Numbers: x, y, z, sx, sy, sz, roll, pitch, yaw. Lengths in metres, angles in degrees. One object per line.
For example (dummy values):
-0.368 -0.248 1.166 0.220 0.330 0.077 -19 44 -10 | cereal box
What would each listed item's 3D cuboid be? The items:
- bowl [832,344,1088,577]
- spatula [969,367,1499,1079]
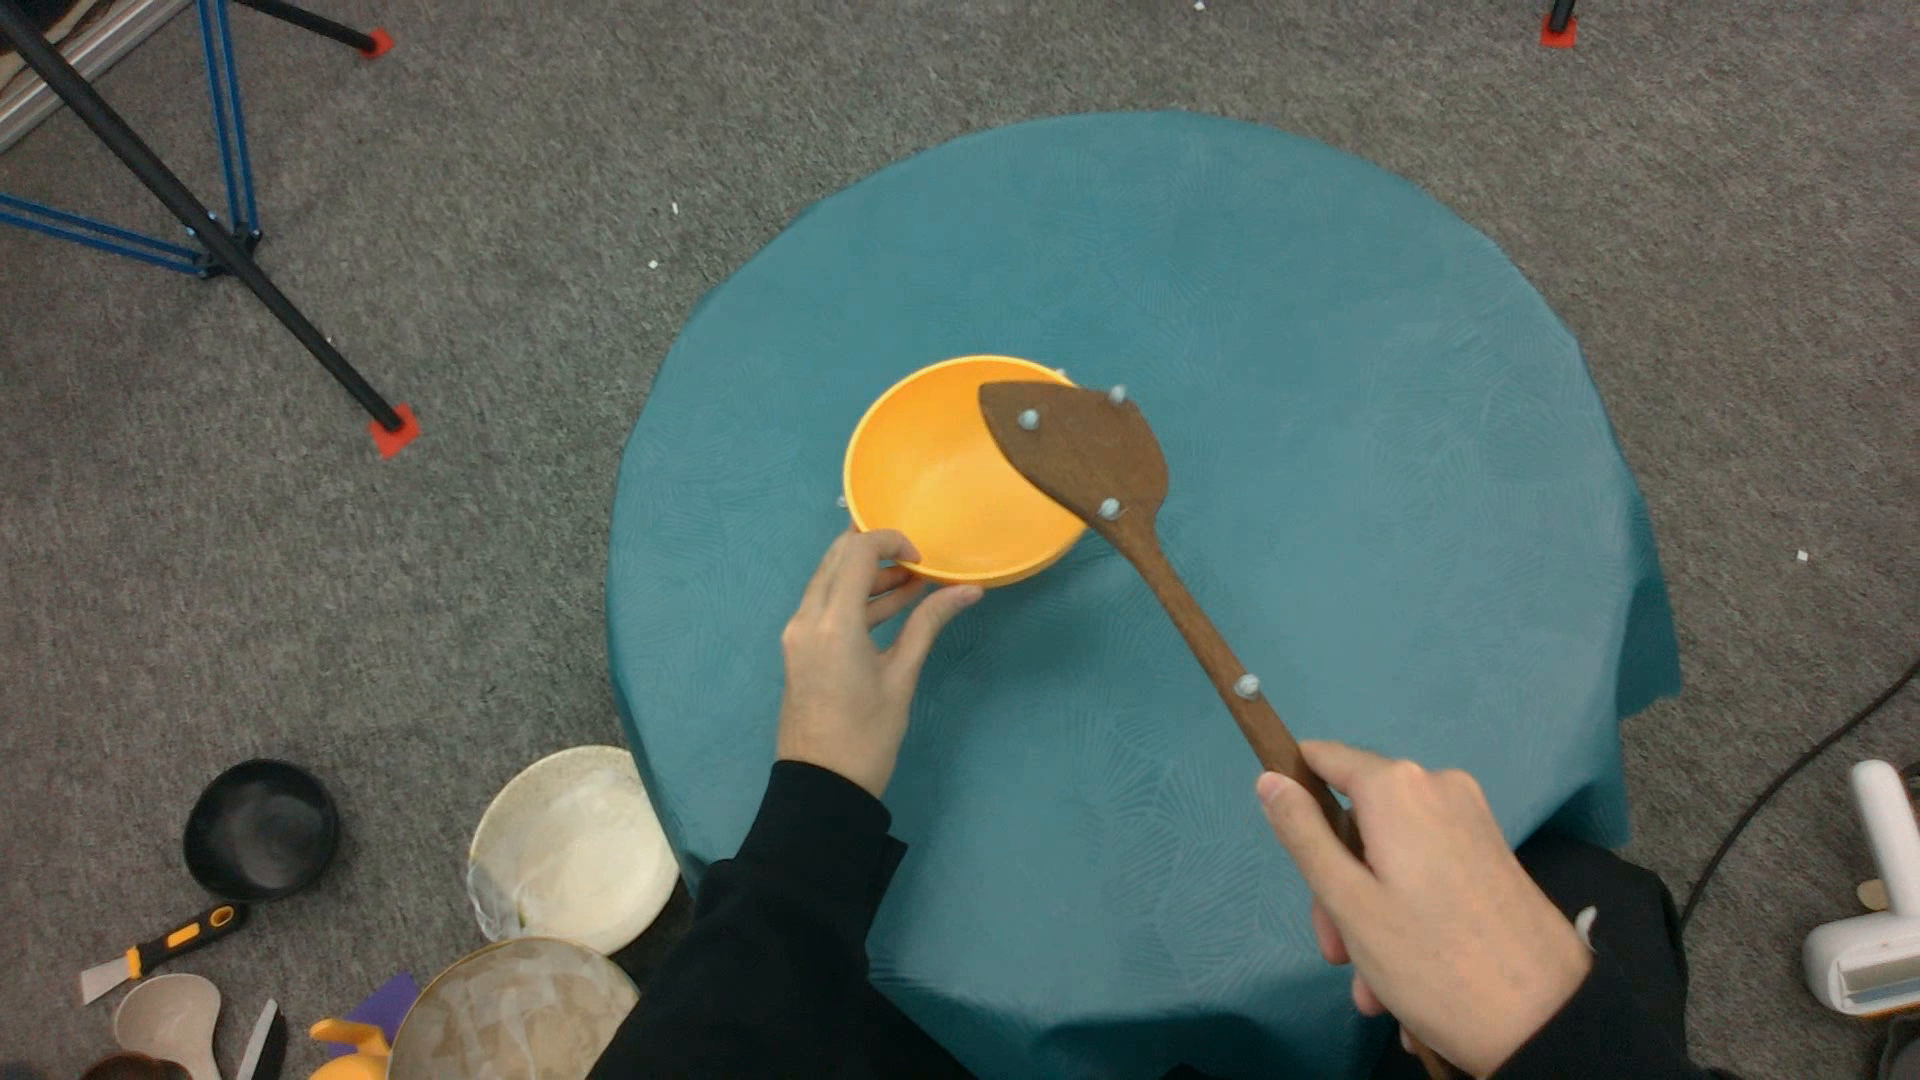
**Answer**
0.006 -0.034 0.763 0.145 0.060 0.146 -4 61 7 | bowl
0.103 0.044 0.564 0.096 0.015 0.387 2 41 -28 | spatula
